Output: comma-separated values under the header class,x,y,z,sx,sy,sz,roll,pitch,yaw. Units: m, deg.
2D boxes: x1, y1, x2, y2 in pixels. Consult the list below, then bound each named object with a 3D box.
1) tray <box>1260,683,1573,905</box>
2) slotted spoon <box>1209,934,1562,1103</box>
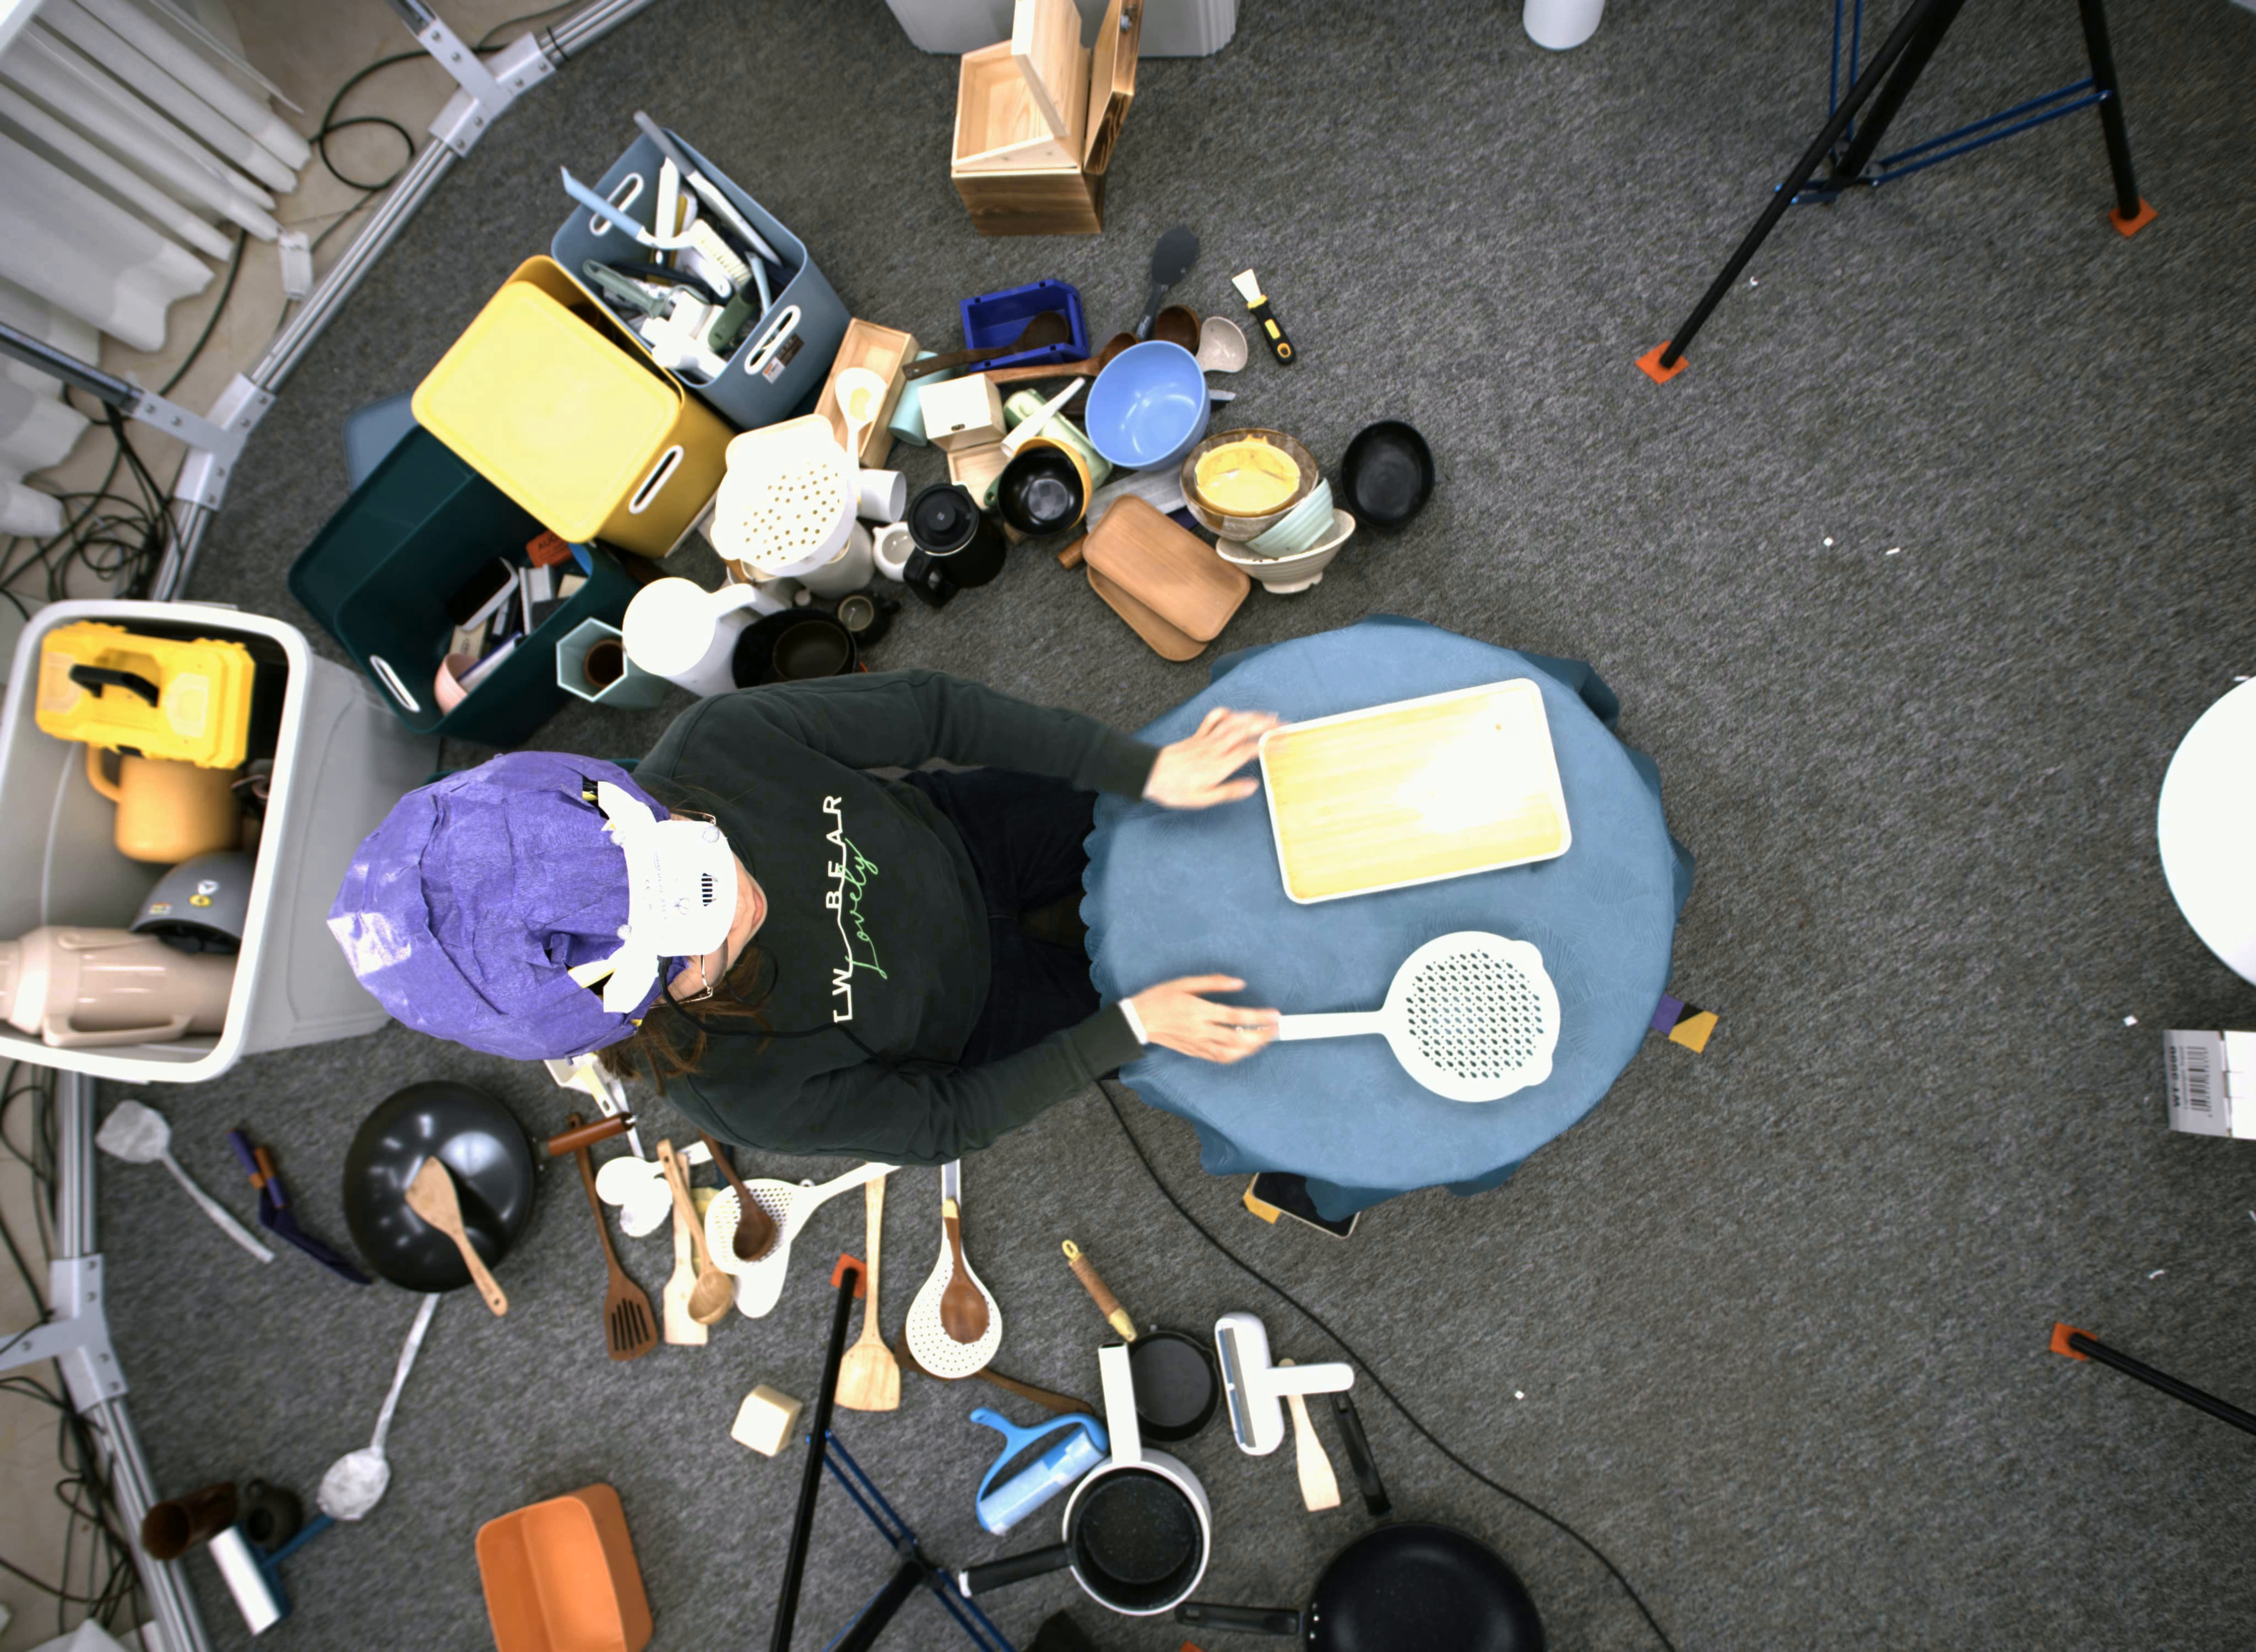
class,x,y,z,sx,sy,sz,roll,pitch,yaw
tray,0.302,-0.034,1.453,0.302,0.027,0.190,-11,84,9
slotted spoon,0.258,0.202,1.425,0.360,0.075,0.168,-5,84,10
